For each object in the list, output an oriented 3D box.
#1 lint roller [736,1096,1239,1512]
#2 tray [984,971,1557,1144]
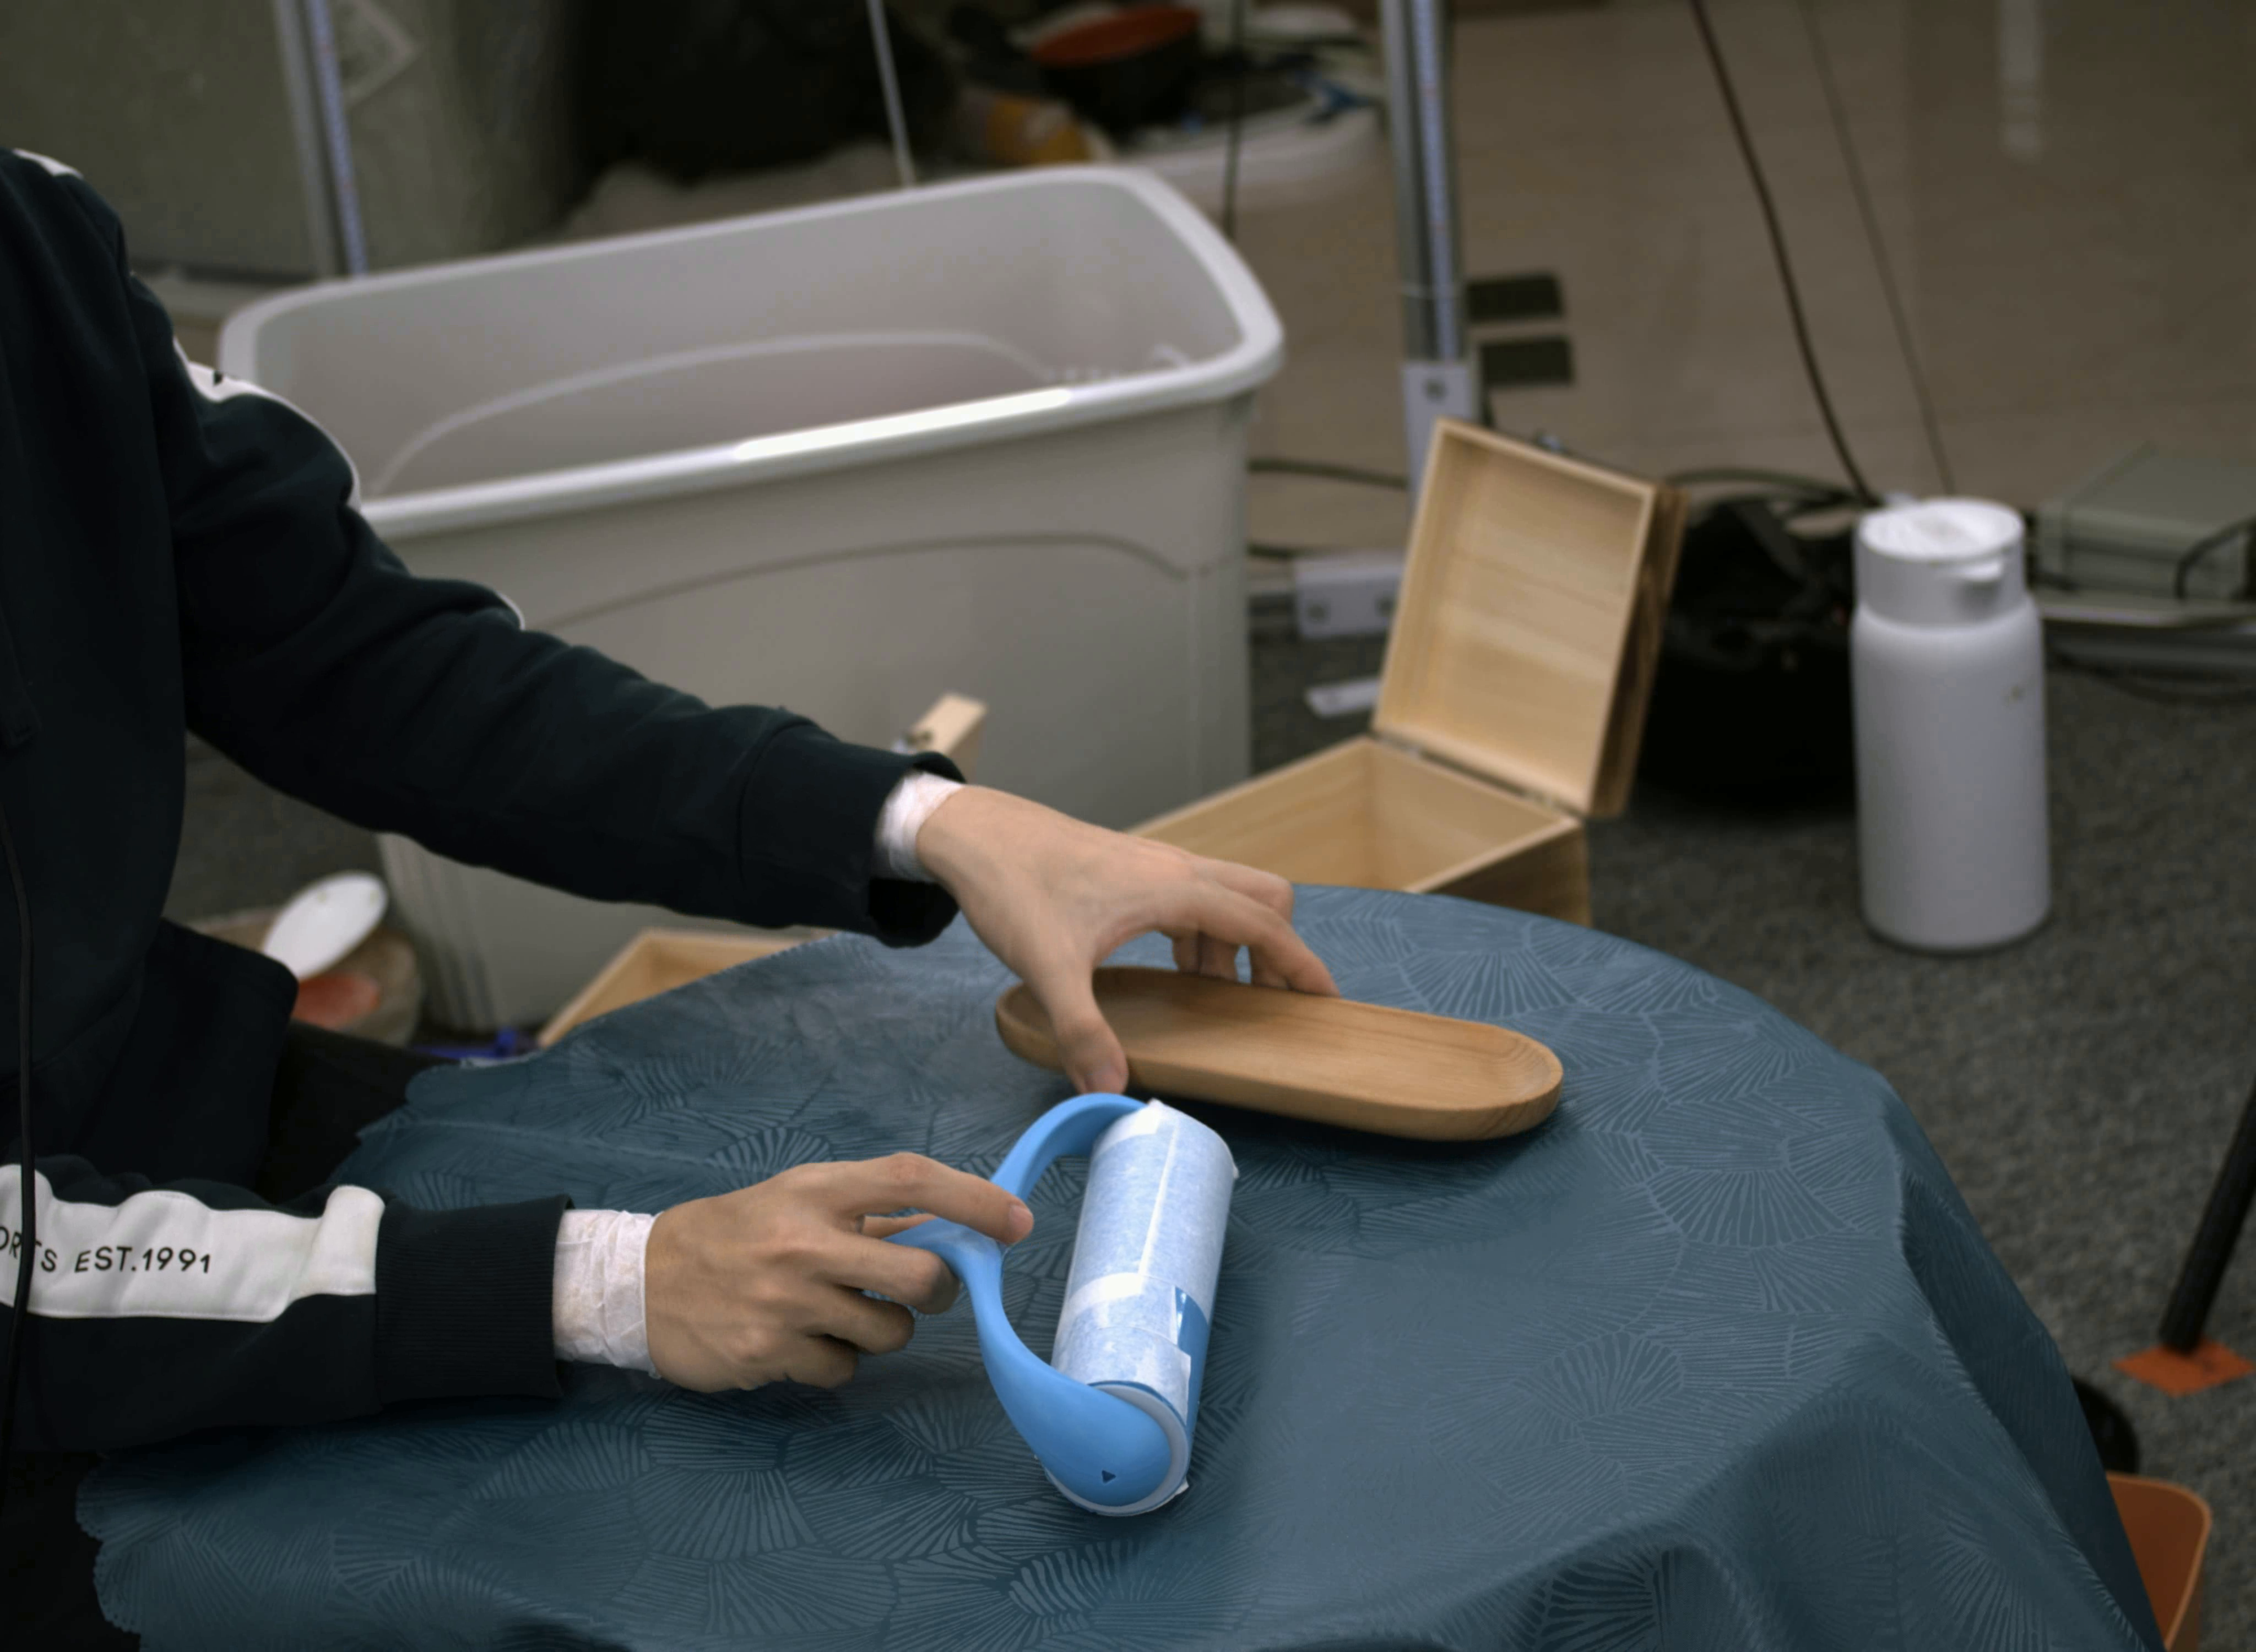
[{"bbox_3d":[-0.054,0.171,2.015,0.180,0.069,0.225,-3,27,5],"label":"lint roller"},{"bbox_3d":[0.054,0.089,2.195,0.230,0.020,0.101,7,19,22],"label":"tray"}]
